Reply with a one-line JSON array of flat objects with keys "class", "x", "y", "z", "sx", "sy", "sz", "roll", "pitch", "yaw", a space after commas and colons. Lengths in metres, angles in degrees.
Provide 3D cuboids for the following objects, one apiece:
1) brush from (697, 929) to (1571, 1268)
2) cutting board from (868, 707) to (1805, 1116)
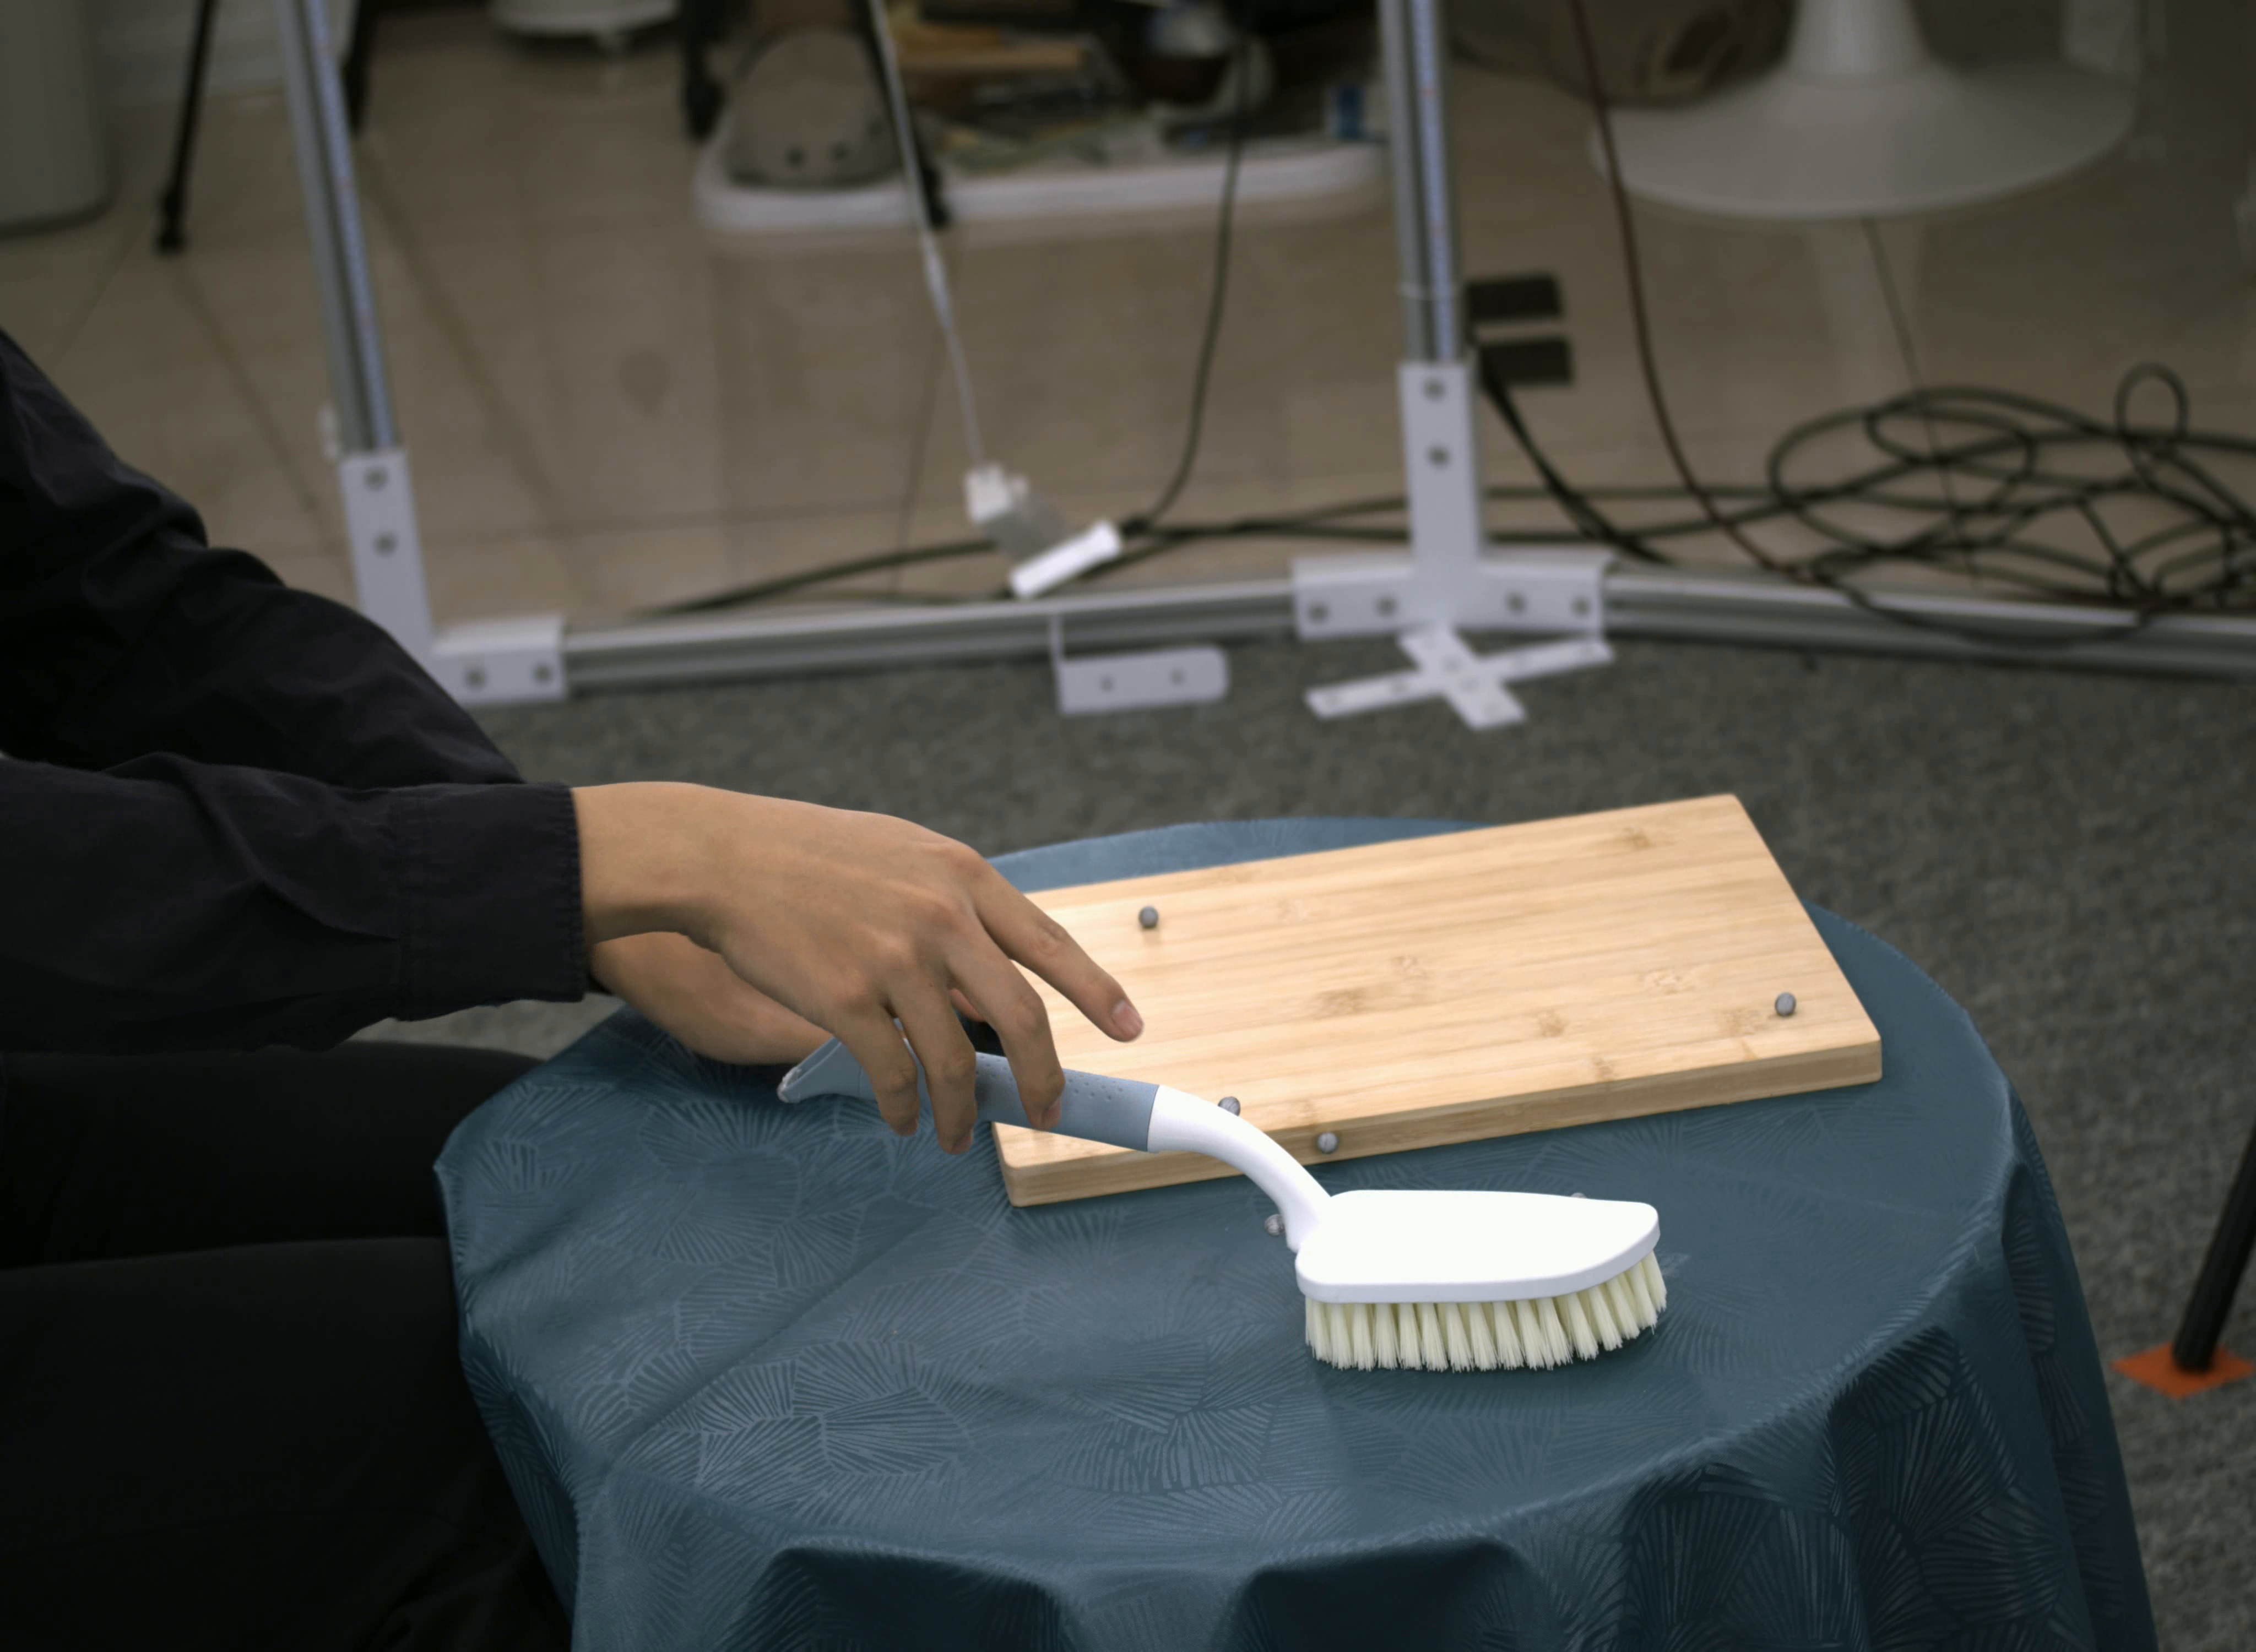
[{"class": "brush", "x": 0.000, "y": 0.109, "z": 2.061, "sx": 0.324, "sy": 0.084, "sz": 0.083, "roll": 11, "pitch": -9, "yaw": 7}, {"class": "cutting board", "x": 0.080, "y": 0.031, "z": 2.283, "sx": 0.348, "sy": 0.024, "sz": 0.247, "roll": -9, "pitch": 25, "yaw": -6}]
